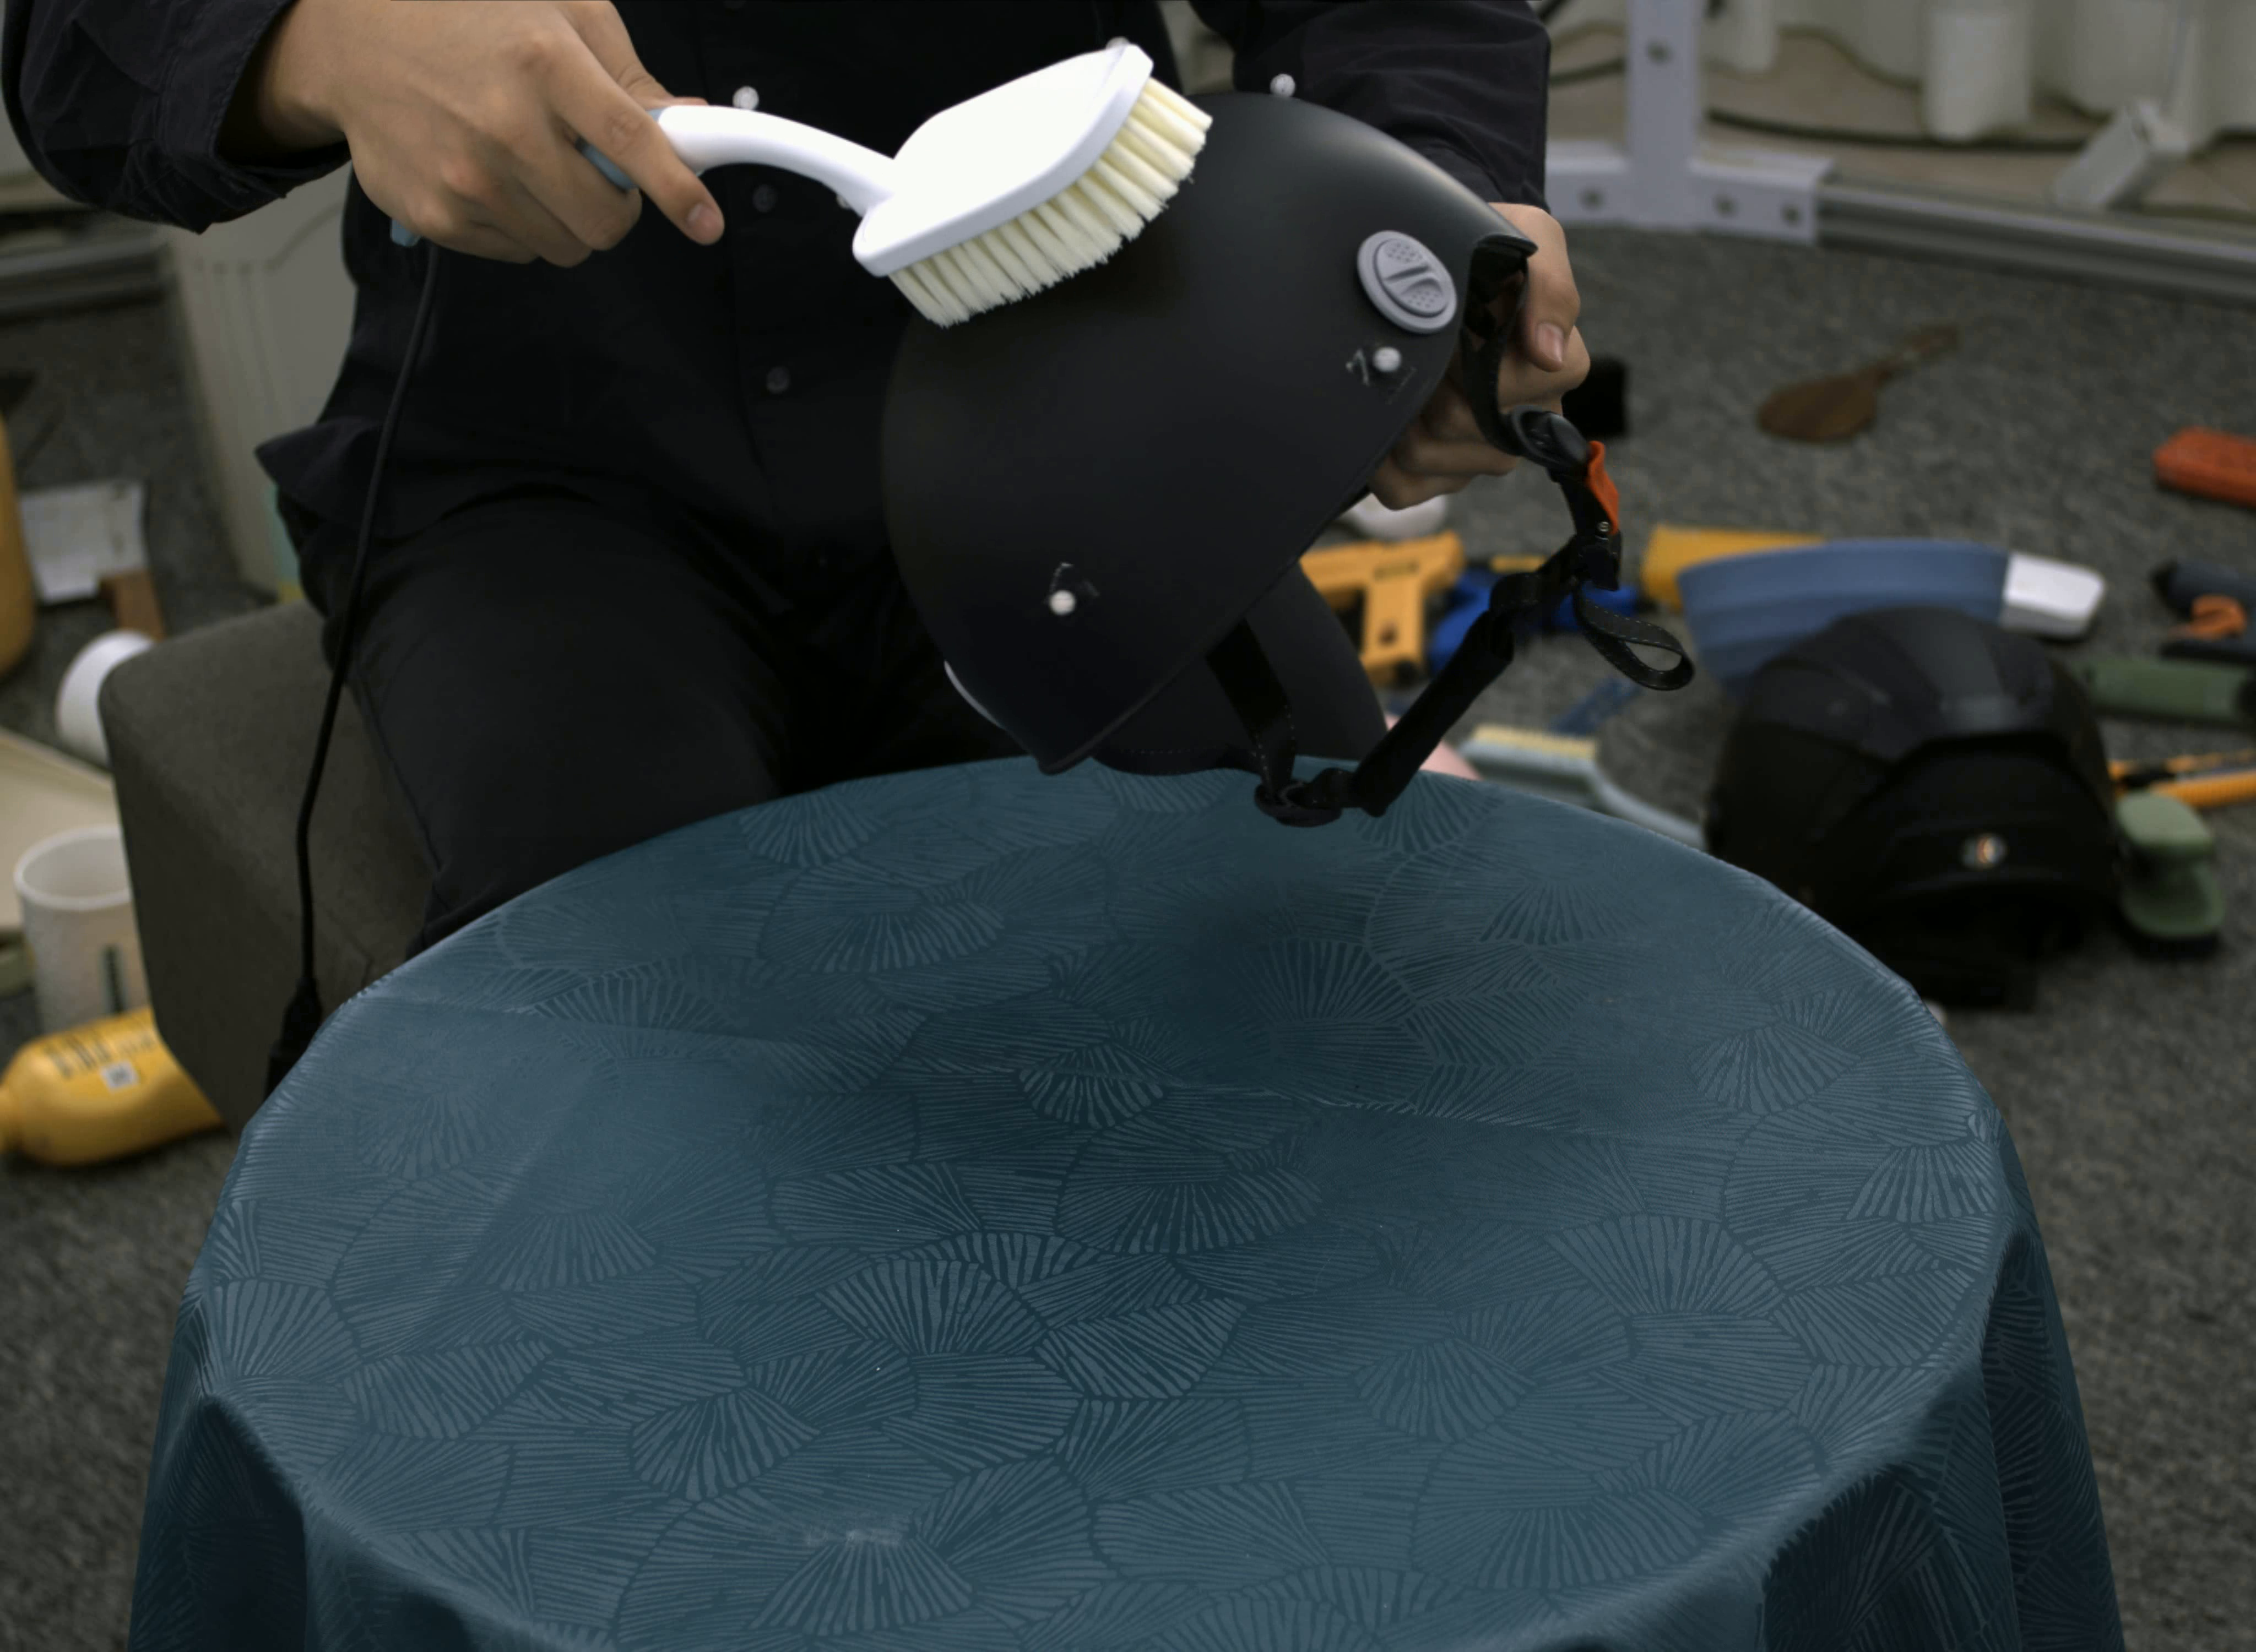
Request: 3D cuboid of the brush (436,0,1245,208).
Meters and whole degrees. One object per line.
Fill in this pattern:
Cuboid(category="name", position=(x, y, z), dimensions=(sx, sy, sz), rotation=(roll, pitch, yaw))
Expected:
Cuboid(category="brush", position=(-0.091, -0.241, 1.869), dimensions=(0.322, 0.084, 0.084), rotation=(-5, 9, 36))

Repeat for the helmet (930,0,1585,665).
Cuboid(category="helmet", position=(0.027, -0.187, 1.903), dimensions=(0.166, 0.226, 0.277), rotation=(44, 31, -2))
